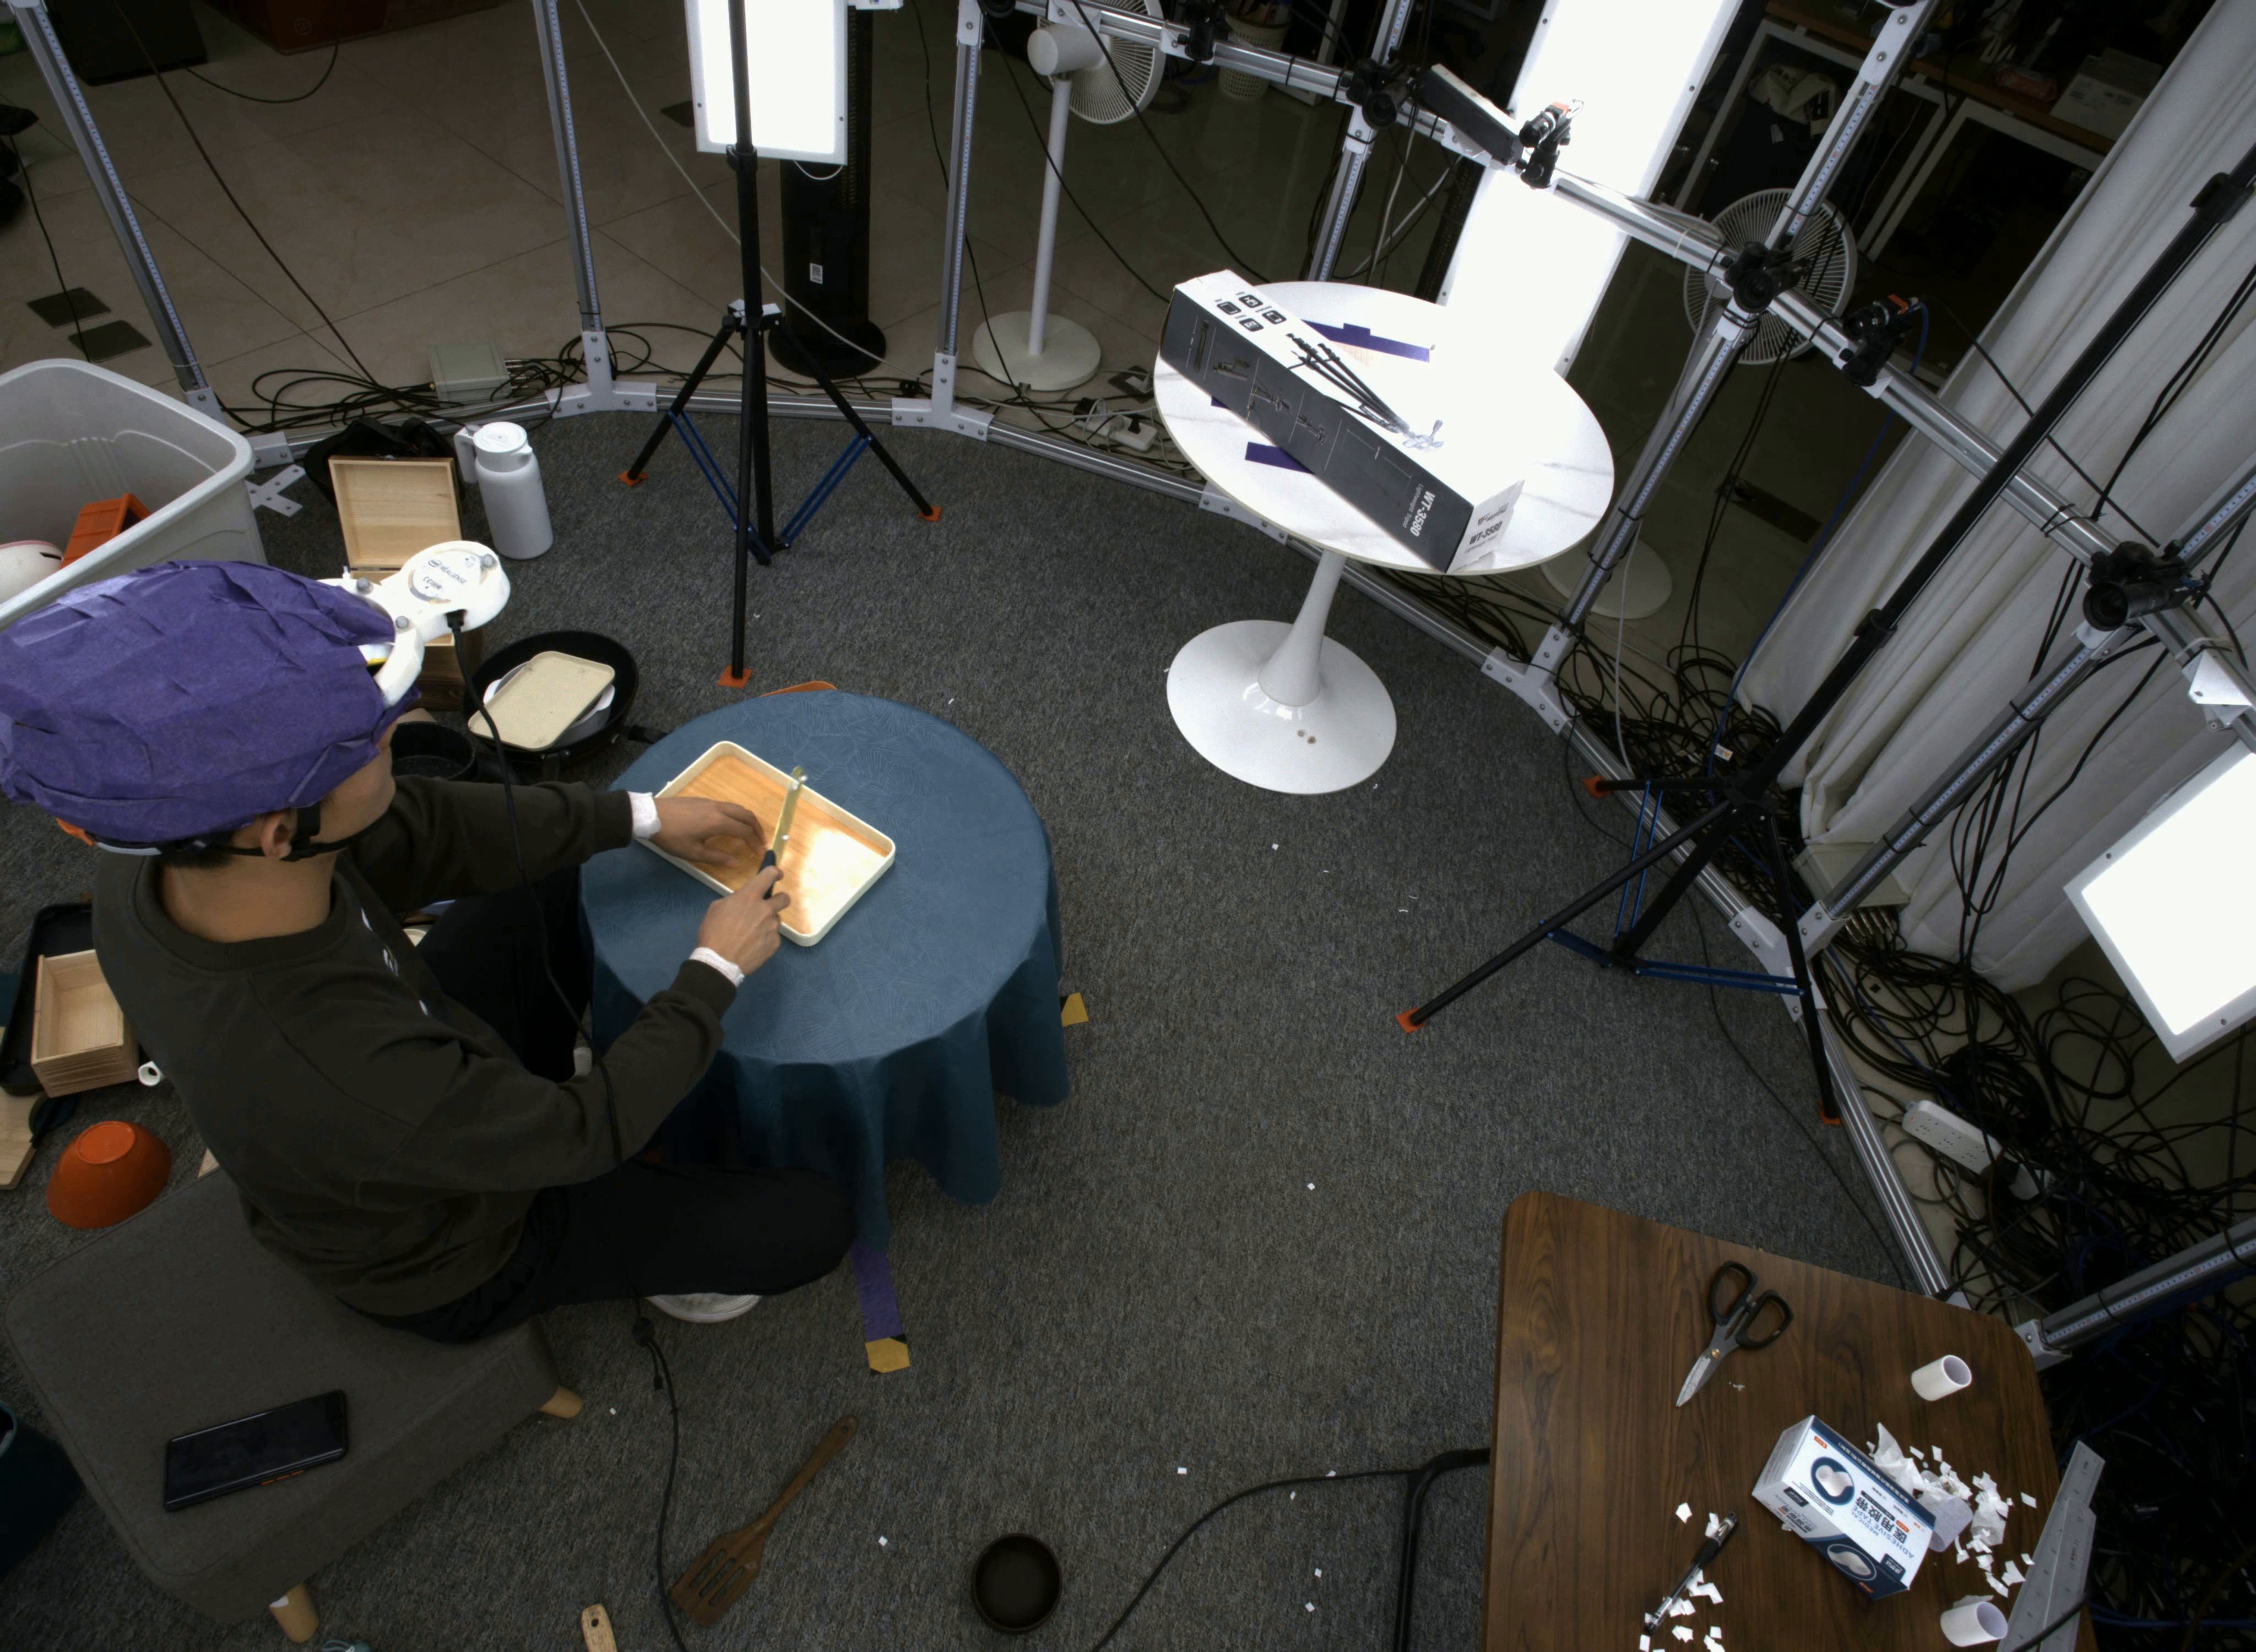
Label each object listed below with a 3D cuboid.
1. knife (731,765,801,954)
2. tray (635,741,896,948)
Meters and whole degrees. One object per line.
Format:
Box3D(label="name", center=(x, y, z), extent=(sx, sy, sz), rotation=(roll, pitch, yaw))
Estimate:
Box3D(label="knife", center=(-0.440, 0.038, 1.597), extent=(0.027, 0.083, 0.285), rotation=(9, 53, -2))
Box3D(label="tray", center=(-0.474, 0.018, 1.692), extent=(0.295, 0.028, 0.191), rotation=(30, 54, 9))
